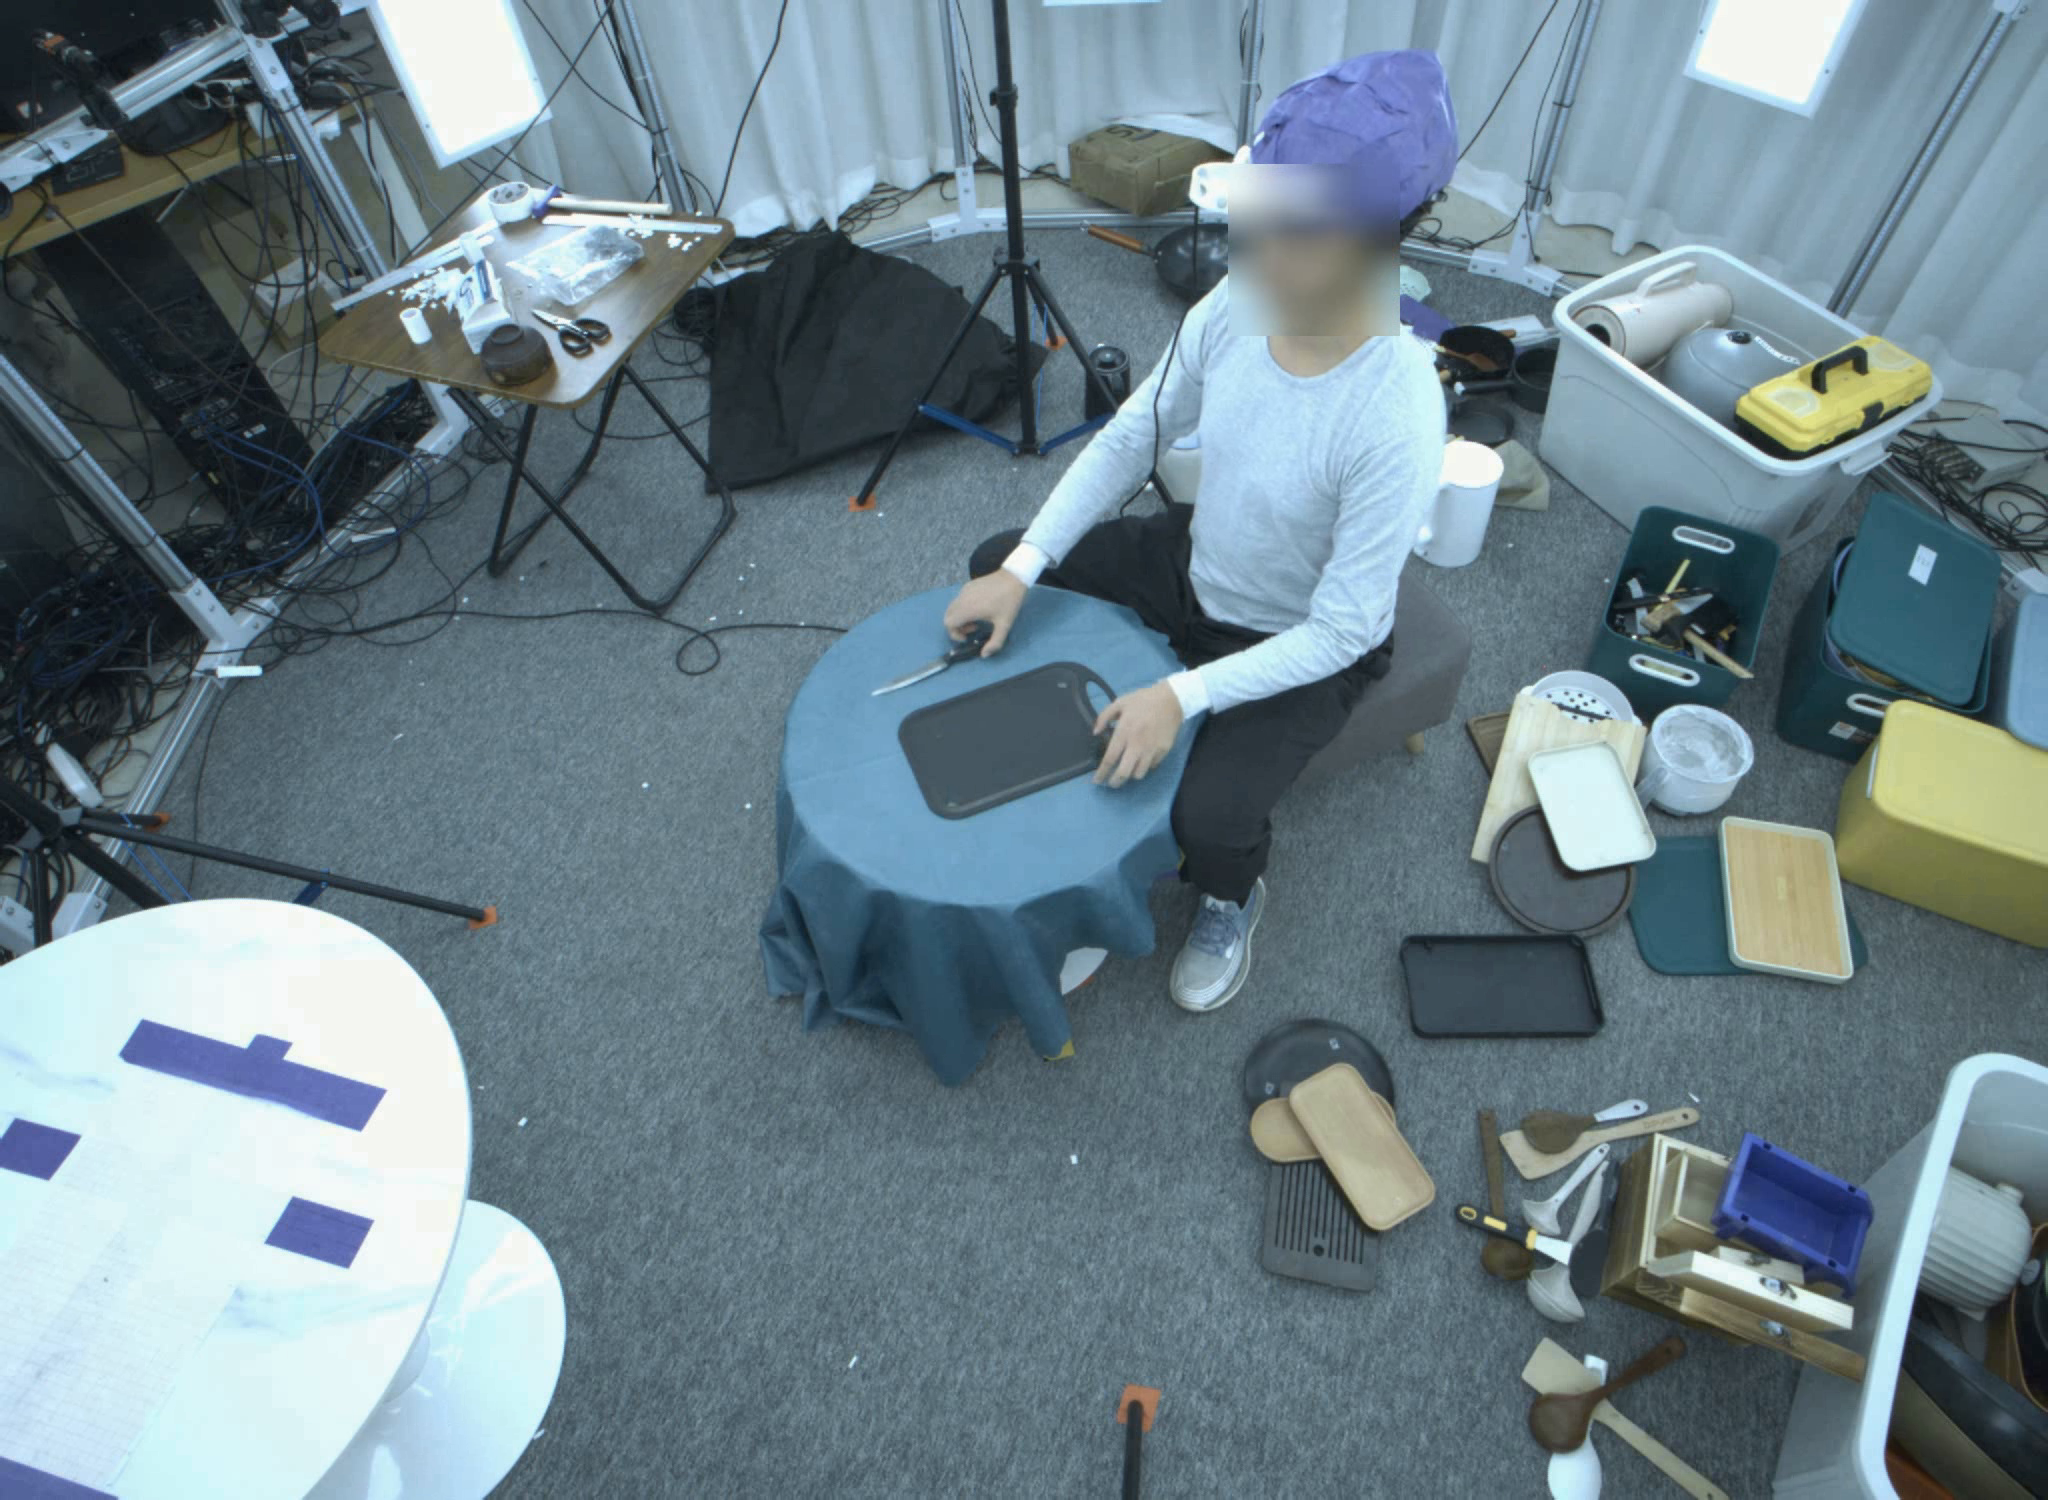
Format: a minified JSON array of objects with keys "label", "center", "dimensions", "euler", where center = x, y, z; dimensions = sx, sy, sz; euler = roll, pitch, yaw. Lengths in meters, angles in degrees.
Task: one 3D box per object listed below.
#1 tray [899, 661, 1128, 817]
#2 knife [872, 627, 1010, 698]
[{"label":"tray","center":[-0.011,-0.026,1.810],"dimensions":[0.328,0.010,0.207],"euler":[-19,56,-12]},{"label":"knife","center":[-0.130,-0.134,1.888],"dimensions":[0.240,0.016,0.024],"euler":[-27,57,-14]}]
